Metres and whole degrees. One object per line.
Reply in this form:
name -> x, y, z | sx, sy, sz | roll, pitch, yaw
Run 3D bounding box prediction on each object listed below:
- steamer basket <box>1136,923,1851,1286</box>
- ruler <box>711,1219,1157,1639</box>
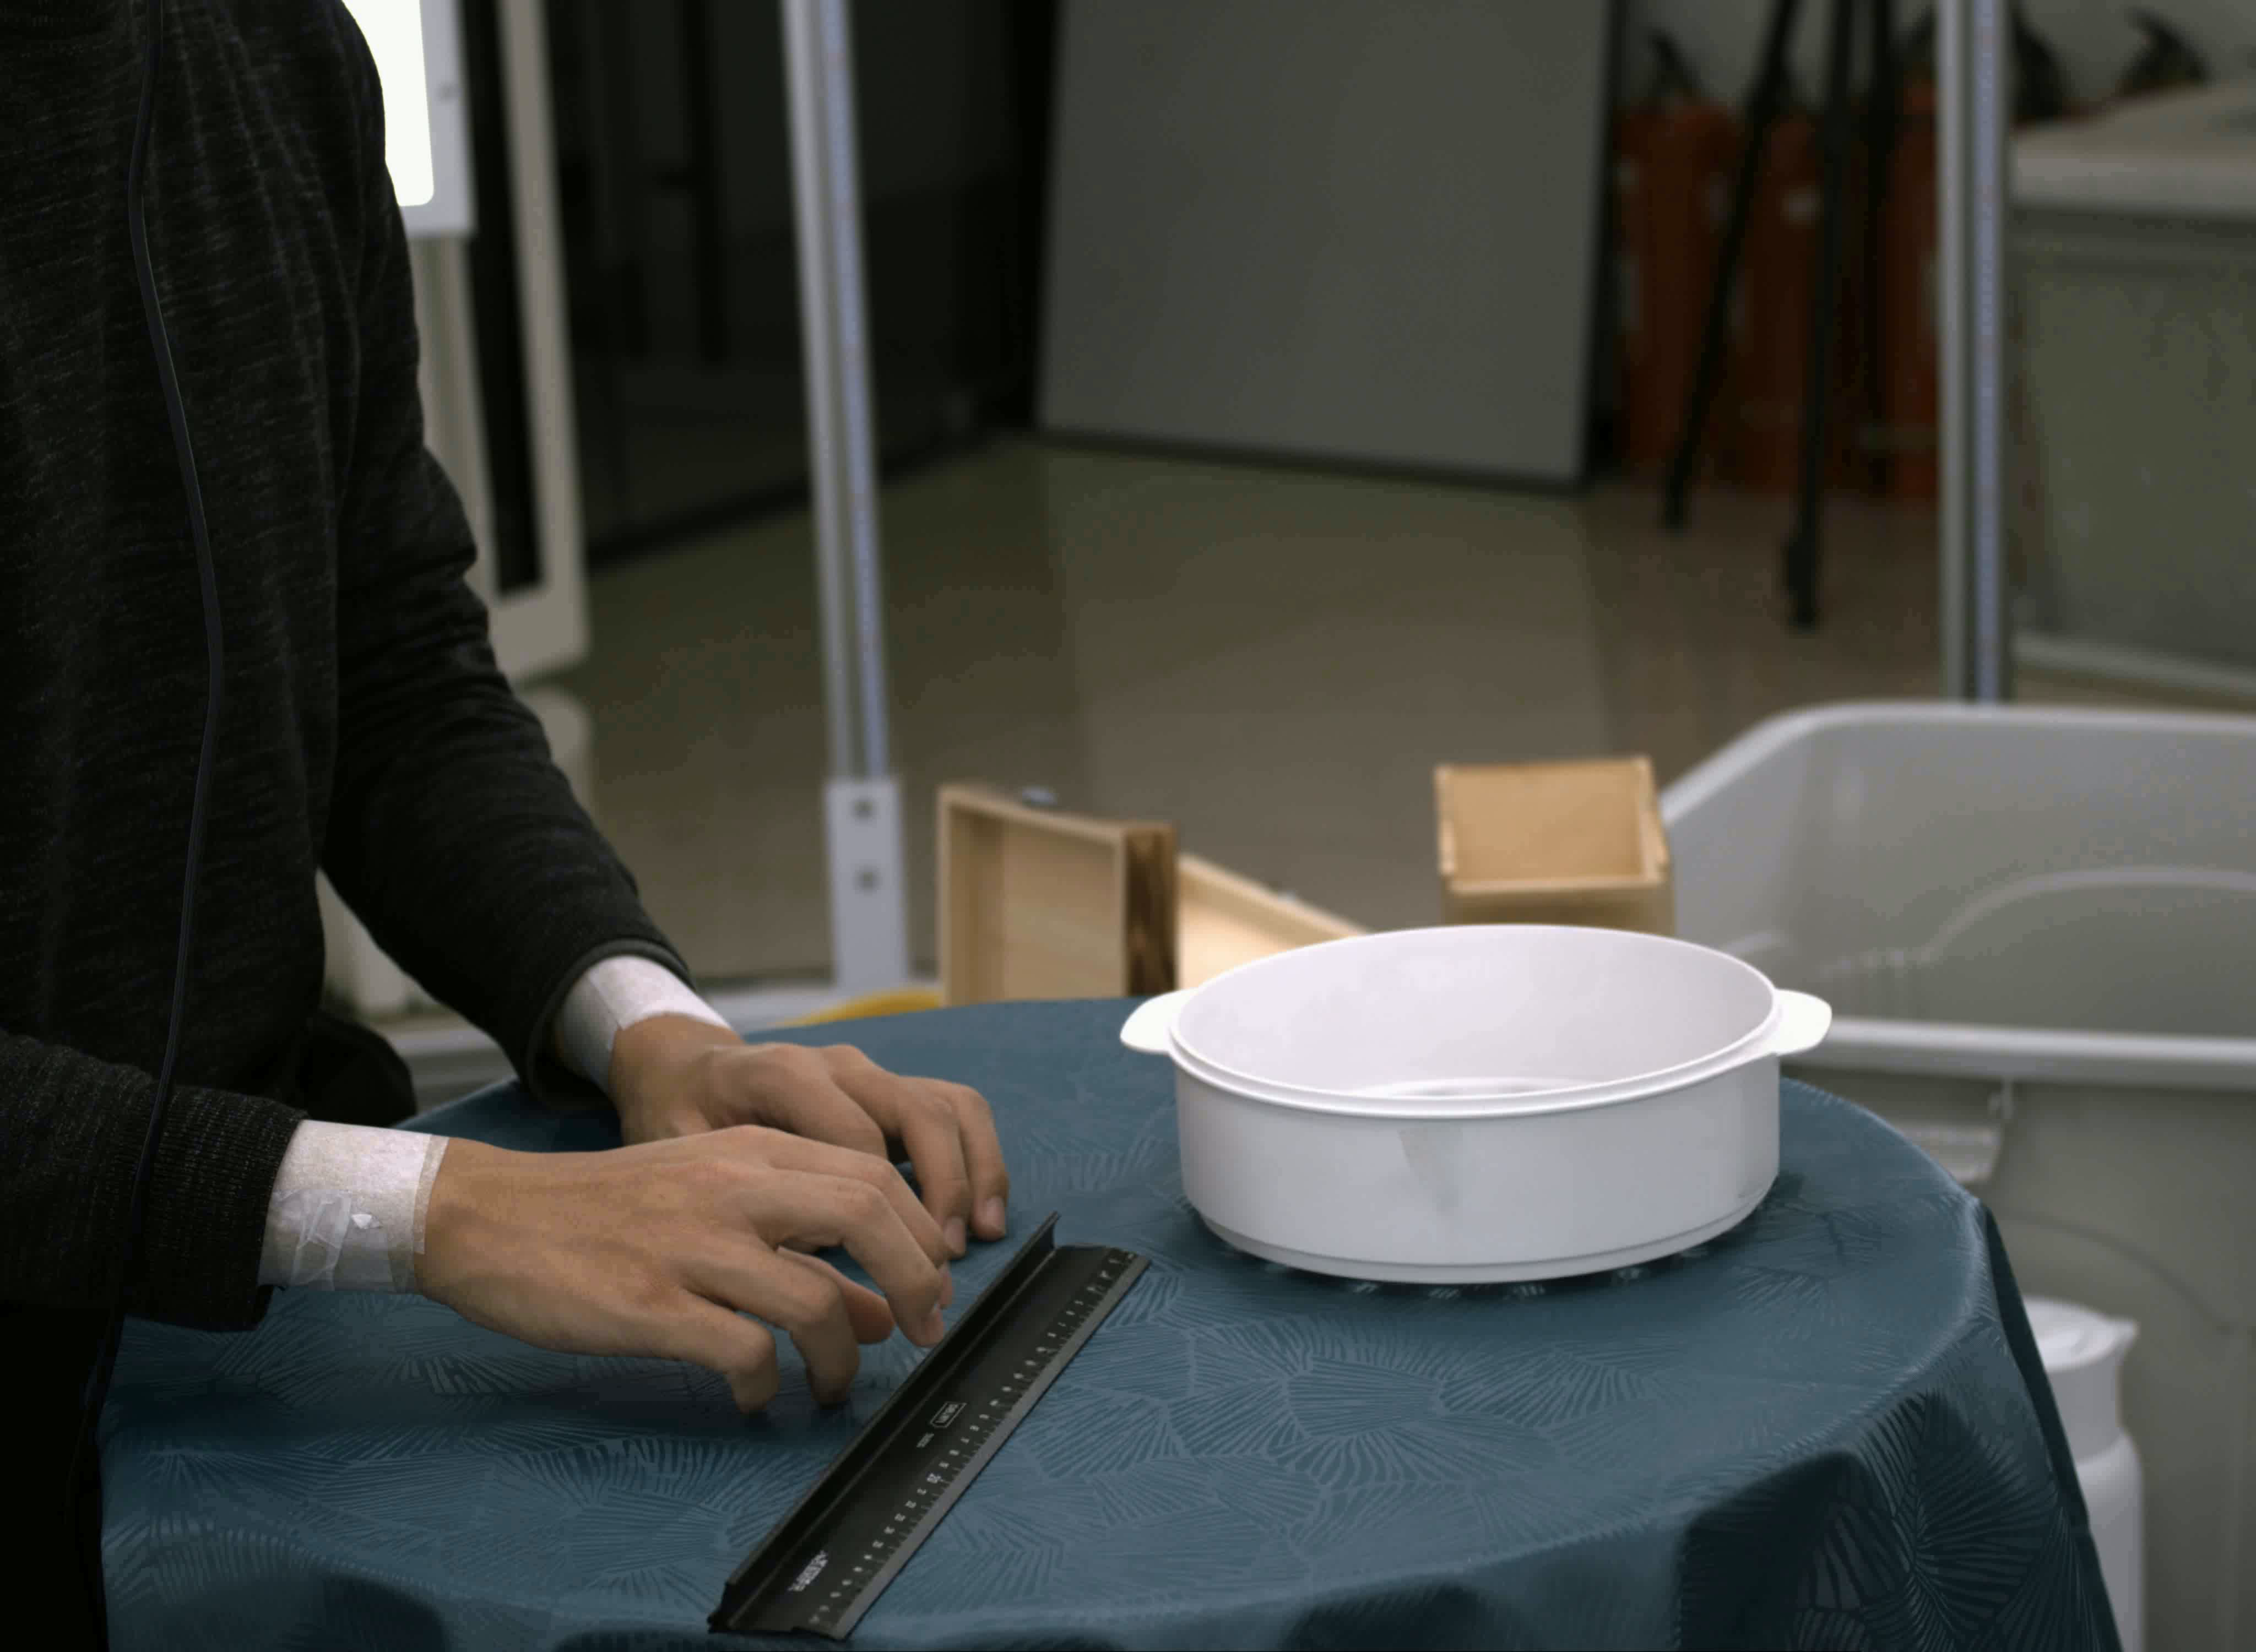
steamer basket -> 0.117, 0.088, 1.723 | 0.229, 0.070, 0.200 | 1, 14, 13
ruler -> -0.050, 0.169, 1.559 | 0.039, 0.017, 0.310 | 4, 15, 16
